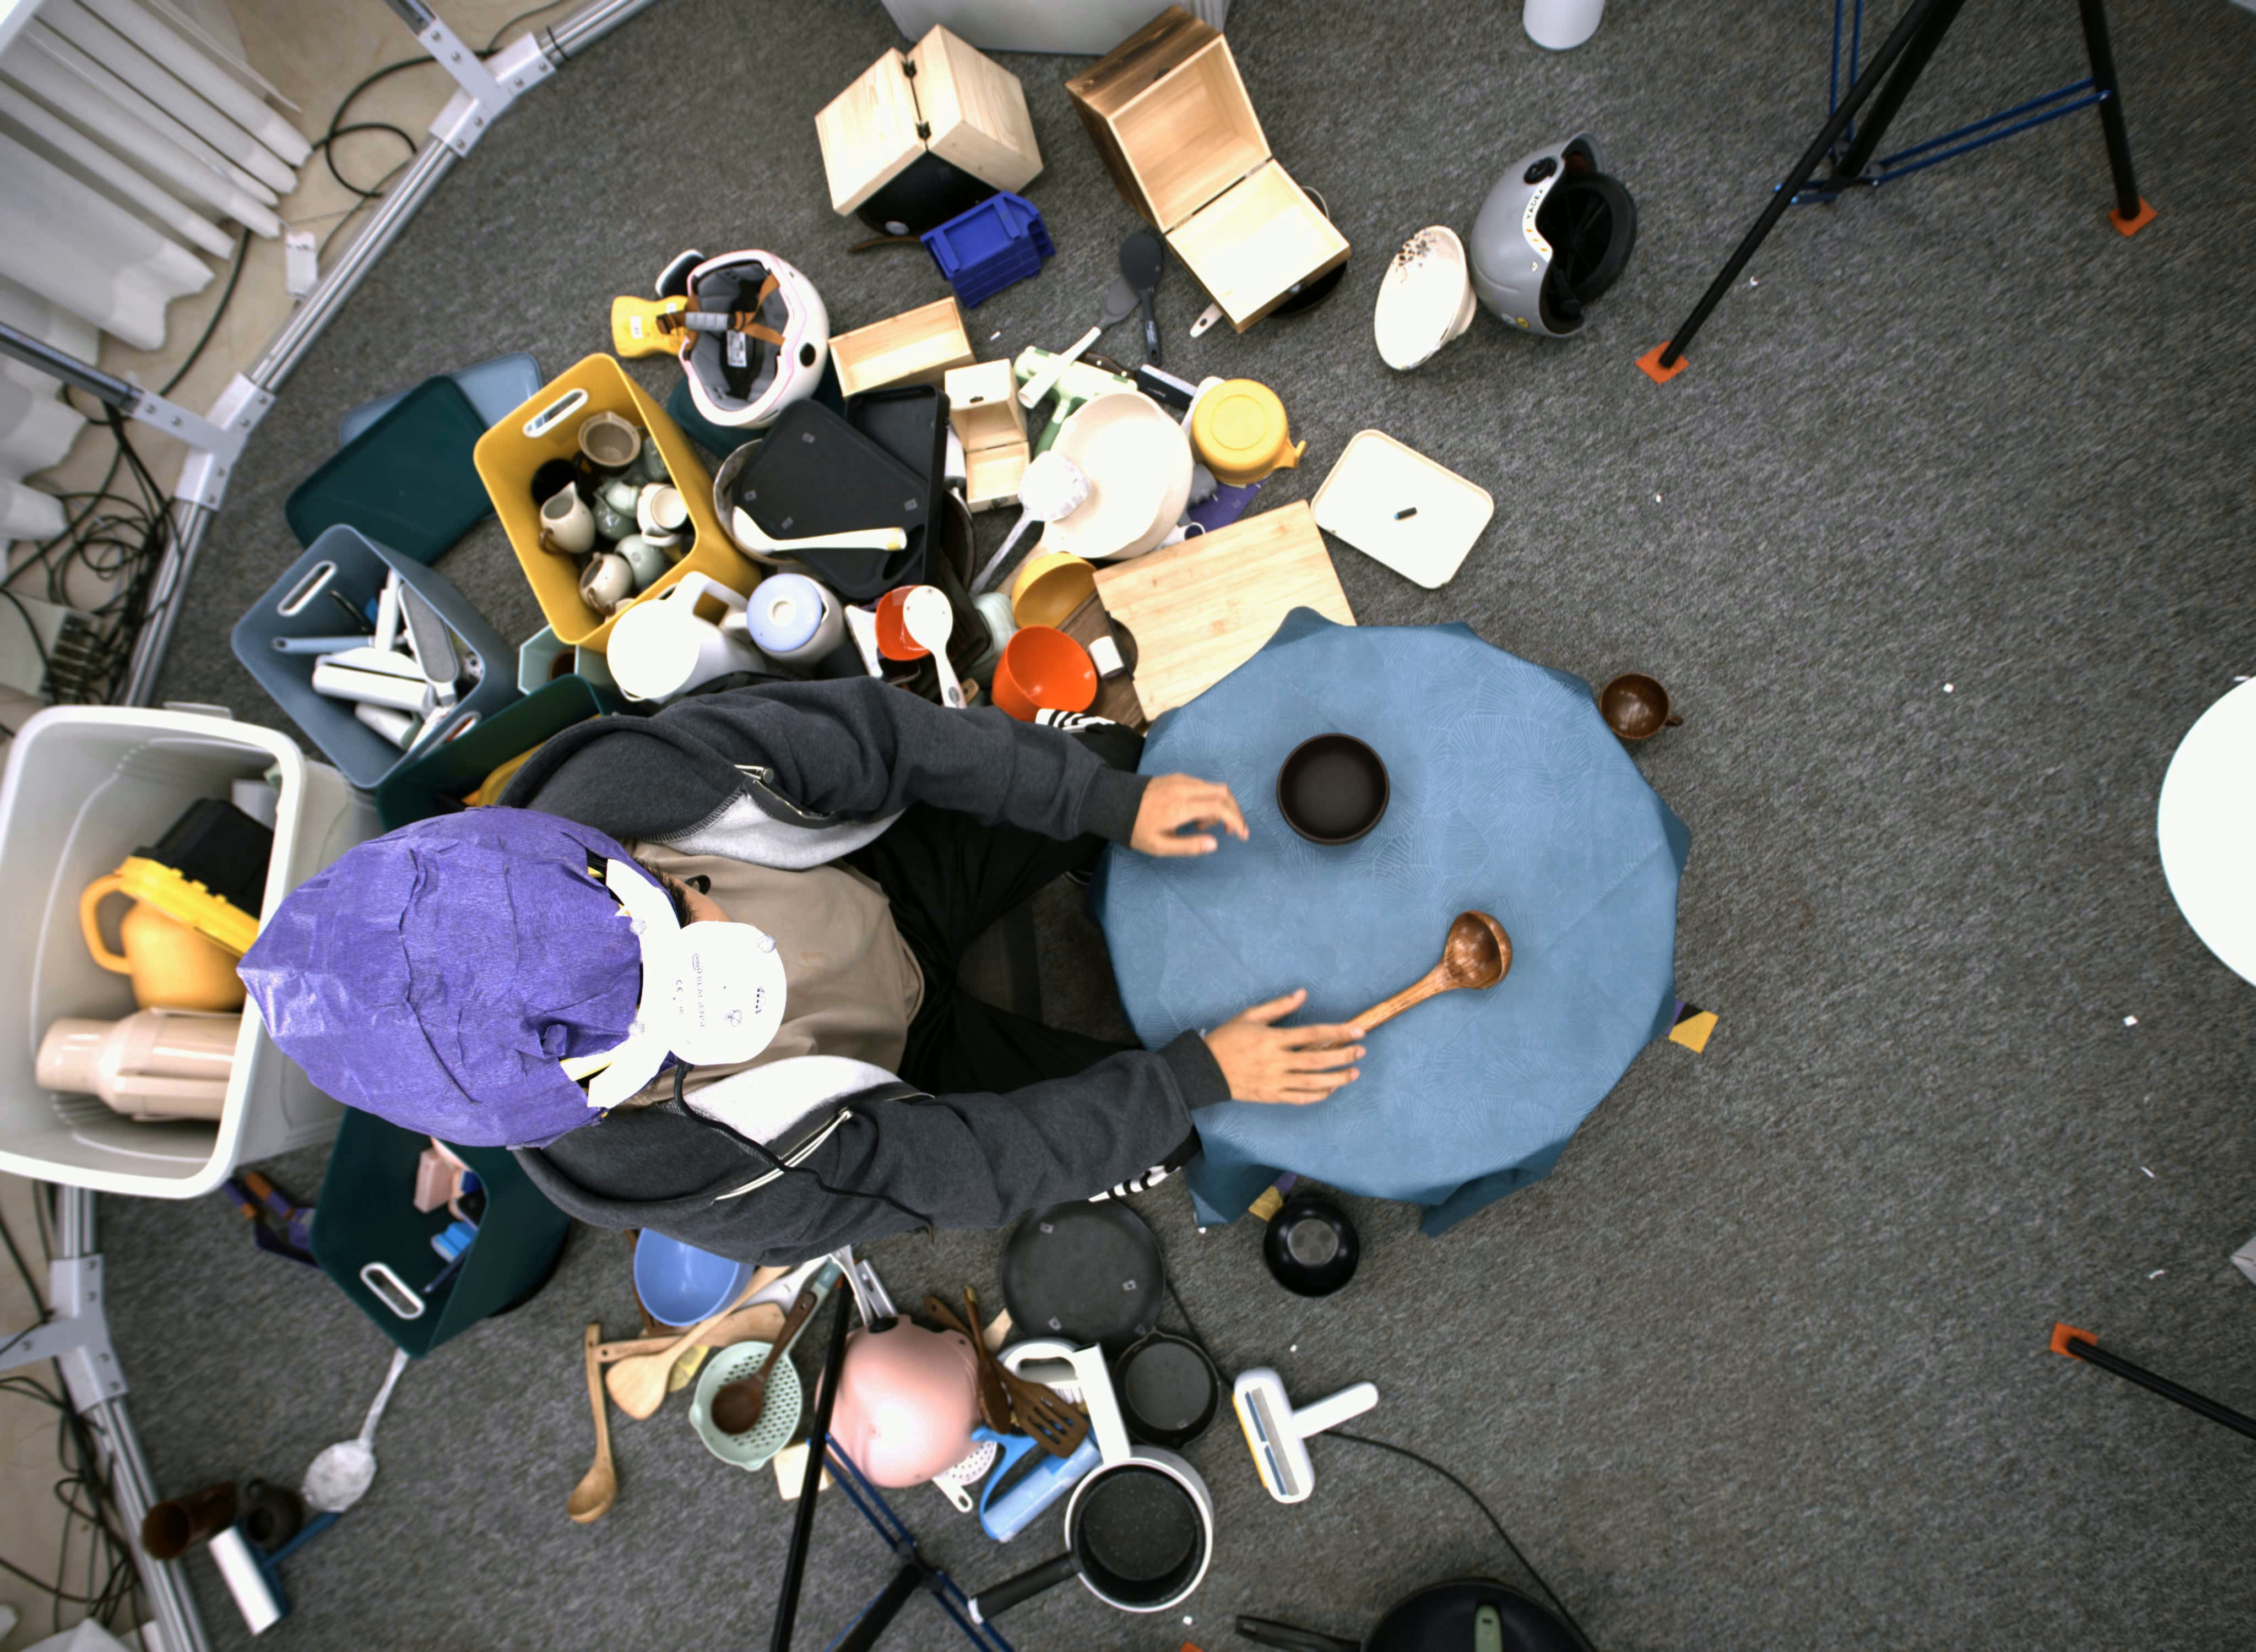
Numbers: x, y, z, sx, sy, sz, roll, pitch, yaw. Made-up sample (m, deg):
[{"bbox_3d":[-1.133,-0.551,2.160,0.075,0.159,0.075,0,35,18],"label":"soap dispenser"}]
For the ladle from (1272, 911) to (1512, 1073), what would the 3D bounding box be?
[{"bbox_3d":[0.265,0.176,1.415,0.276,0.077,0.080,-29,59,8],"label":"ladle"}]

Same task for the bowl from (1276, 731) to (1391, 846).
[{"bbox_3d":[0.214,-0.038,1.438,0.118,0.070,0.117,-1,86,10],"label":"bowl"}]
